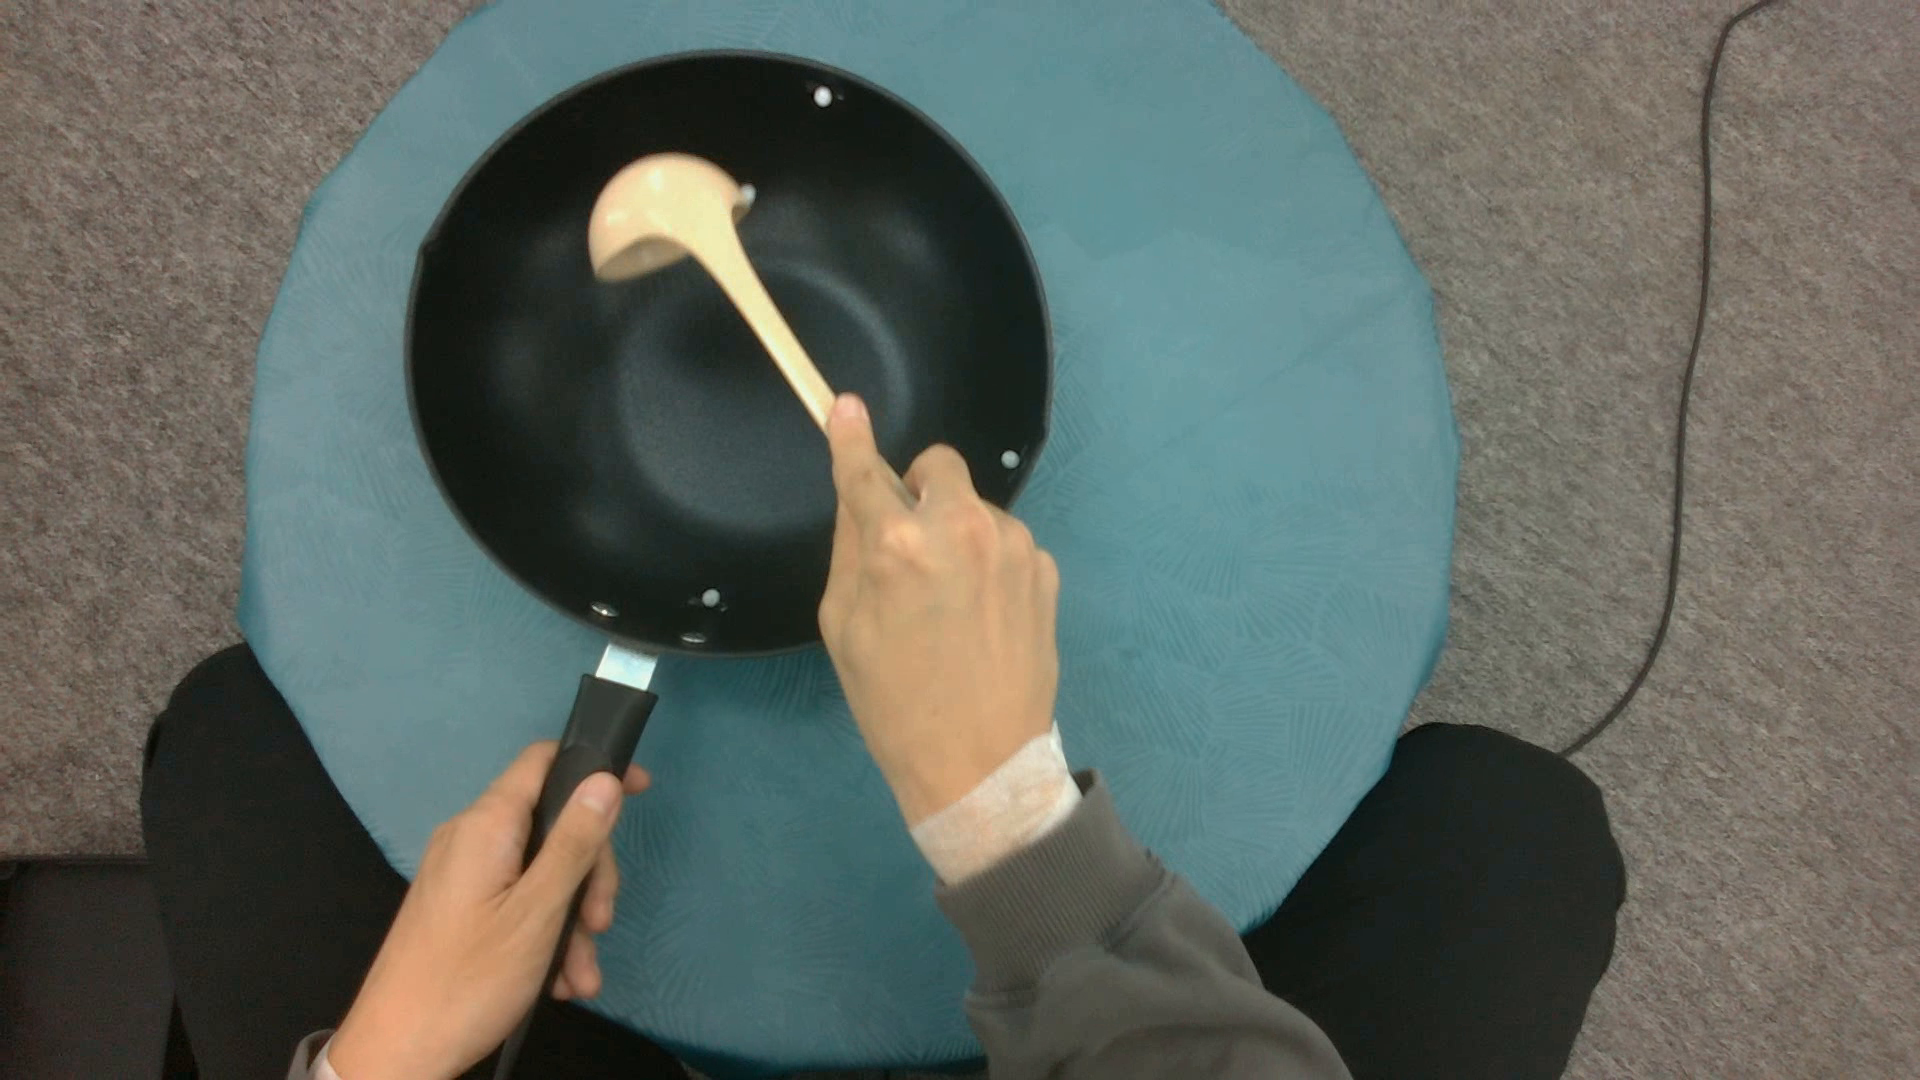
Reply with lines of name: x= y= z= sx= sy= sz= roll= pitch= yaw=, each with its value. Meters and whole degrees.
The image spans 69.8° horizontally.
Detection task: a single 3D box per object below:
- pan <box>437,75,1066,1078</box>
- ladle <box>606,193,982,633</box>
pan: x=-0.122 y=0.010 z=0.641 sx=0.288 sy=0.086 sz=0.464 roll=17 pitch=78 yaw=0
ladle: x=-0.071 y=-0.046 z=0.591 sx=0.072 sy=0.072 sz=0.255 roll=-25 pitch=69 yaw=-27
